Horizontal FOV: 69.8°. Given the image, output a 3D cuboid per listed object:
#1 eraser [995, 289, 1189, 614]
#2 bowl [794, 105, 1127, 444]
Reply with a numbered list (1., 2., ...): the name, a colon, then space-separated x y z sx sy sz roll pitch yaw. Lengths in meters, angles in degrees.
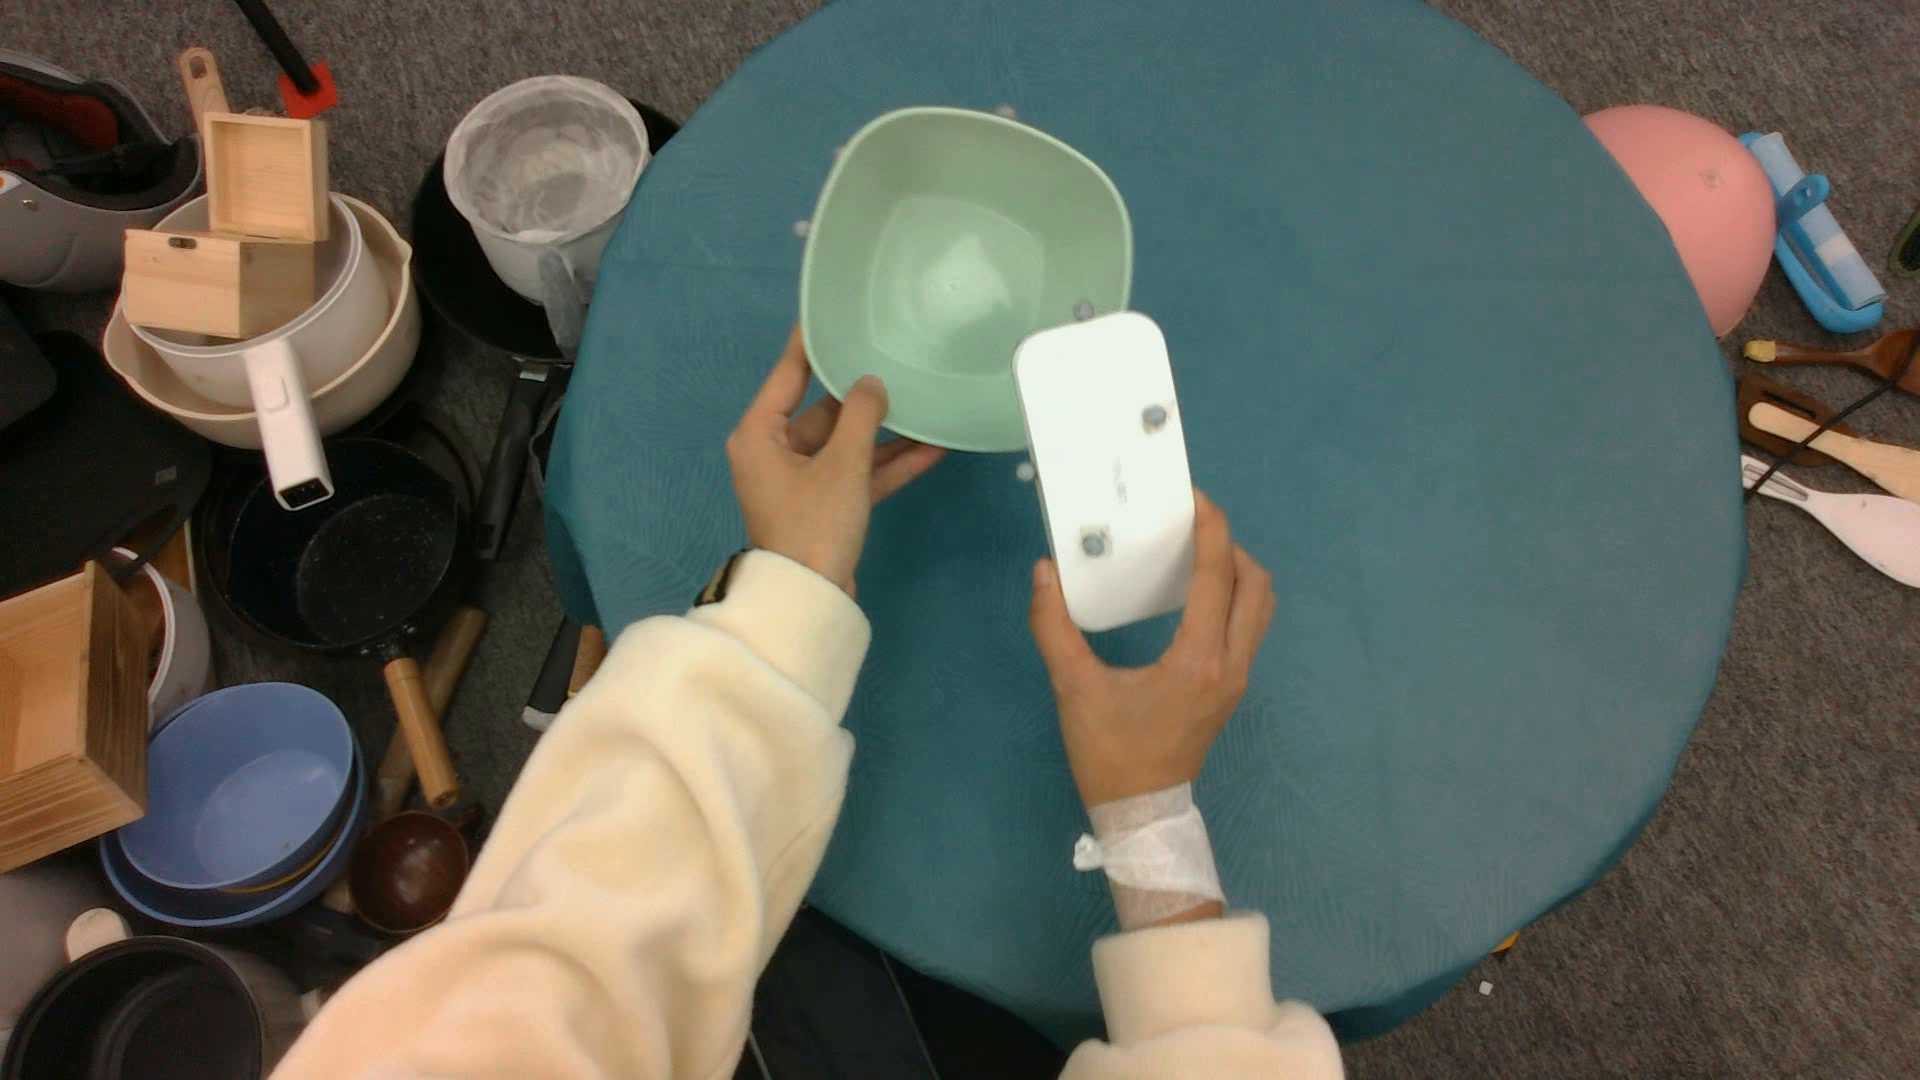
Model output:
1. eraser: 0.053 -0.035 0.563 0.063 0.034 0.131 -15 108 -7
2. bowl: -0.002 -0.115 0.611 0.151 0.058 0.151 -1 97 -7
